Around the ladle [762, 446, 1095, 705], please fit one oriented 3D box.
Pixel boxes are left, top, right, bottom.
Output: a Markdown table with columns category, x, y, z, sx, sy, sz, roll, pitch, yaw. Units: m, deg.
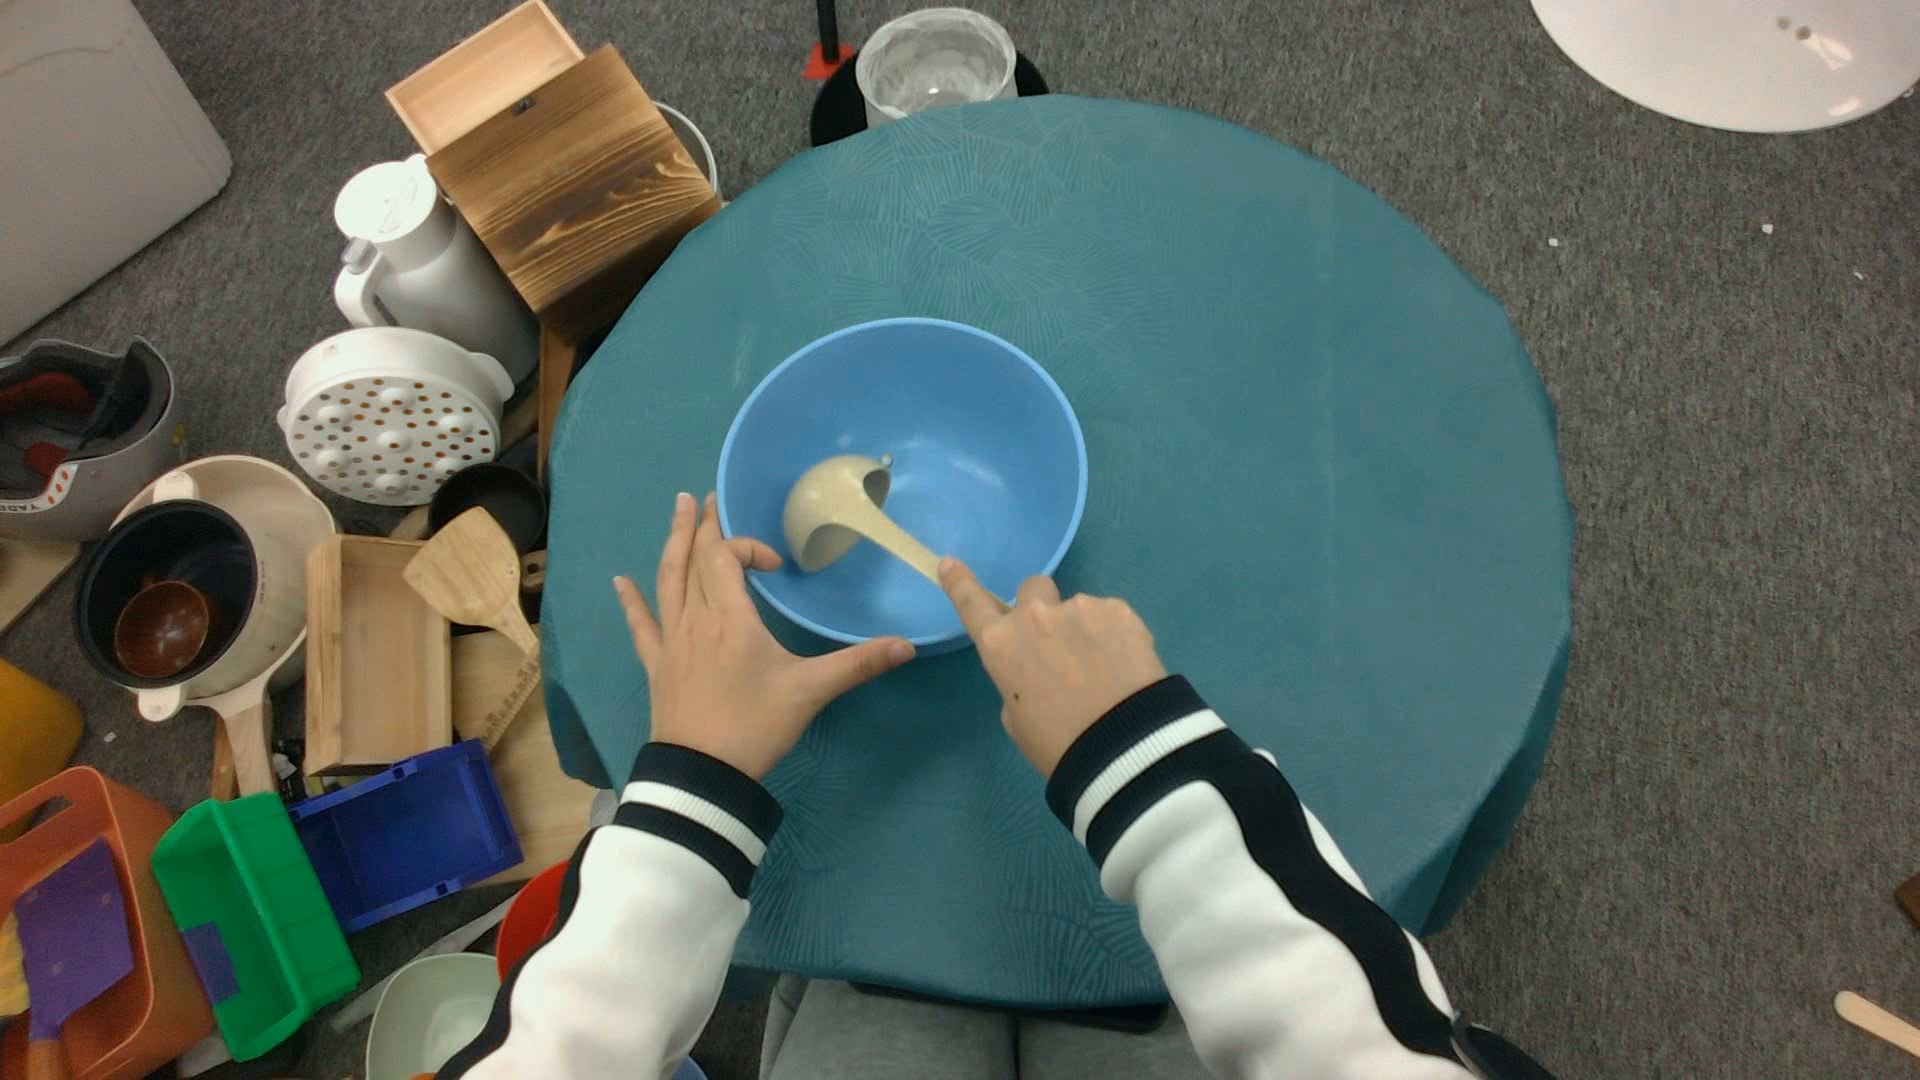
| category | x | y | z | sx | sy | sz | roll | pitch | yaw |
| --- | --- | --- | --- | --- | --- | --- | --- | --- | --- |
| ladle | -0.012 | 0.029 | 0.696 | 0.072 | 0.072 | 0.254 | -43 | 50 | -12 |

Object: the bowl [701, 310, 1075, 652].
| category | x | y | z | sx | sy | sz | roll | pitch | yaw |
| --- | --- | --- | --- | --- | --- | --- | --- | --- | --- |
| bowl | -0.037 | -0.020 | 0.764 | 0.196 | 0.095 | 0.197 | 0 | 65 | 1 |
